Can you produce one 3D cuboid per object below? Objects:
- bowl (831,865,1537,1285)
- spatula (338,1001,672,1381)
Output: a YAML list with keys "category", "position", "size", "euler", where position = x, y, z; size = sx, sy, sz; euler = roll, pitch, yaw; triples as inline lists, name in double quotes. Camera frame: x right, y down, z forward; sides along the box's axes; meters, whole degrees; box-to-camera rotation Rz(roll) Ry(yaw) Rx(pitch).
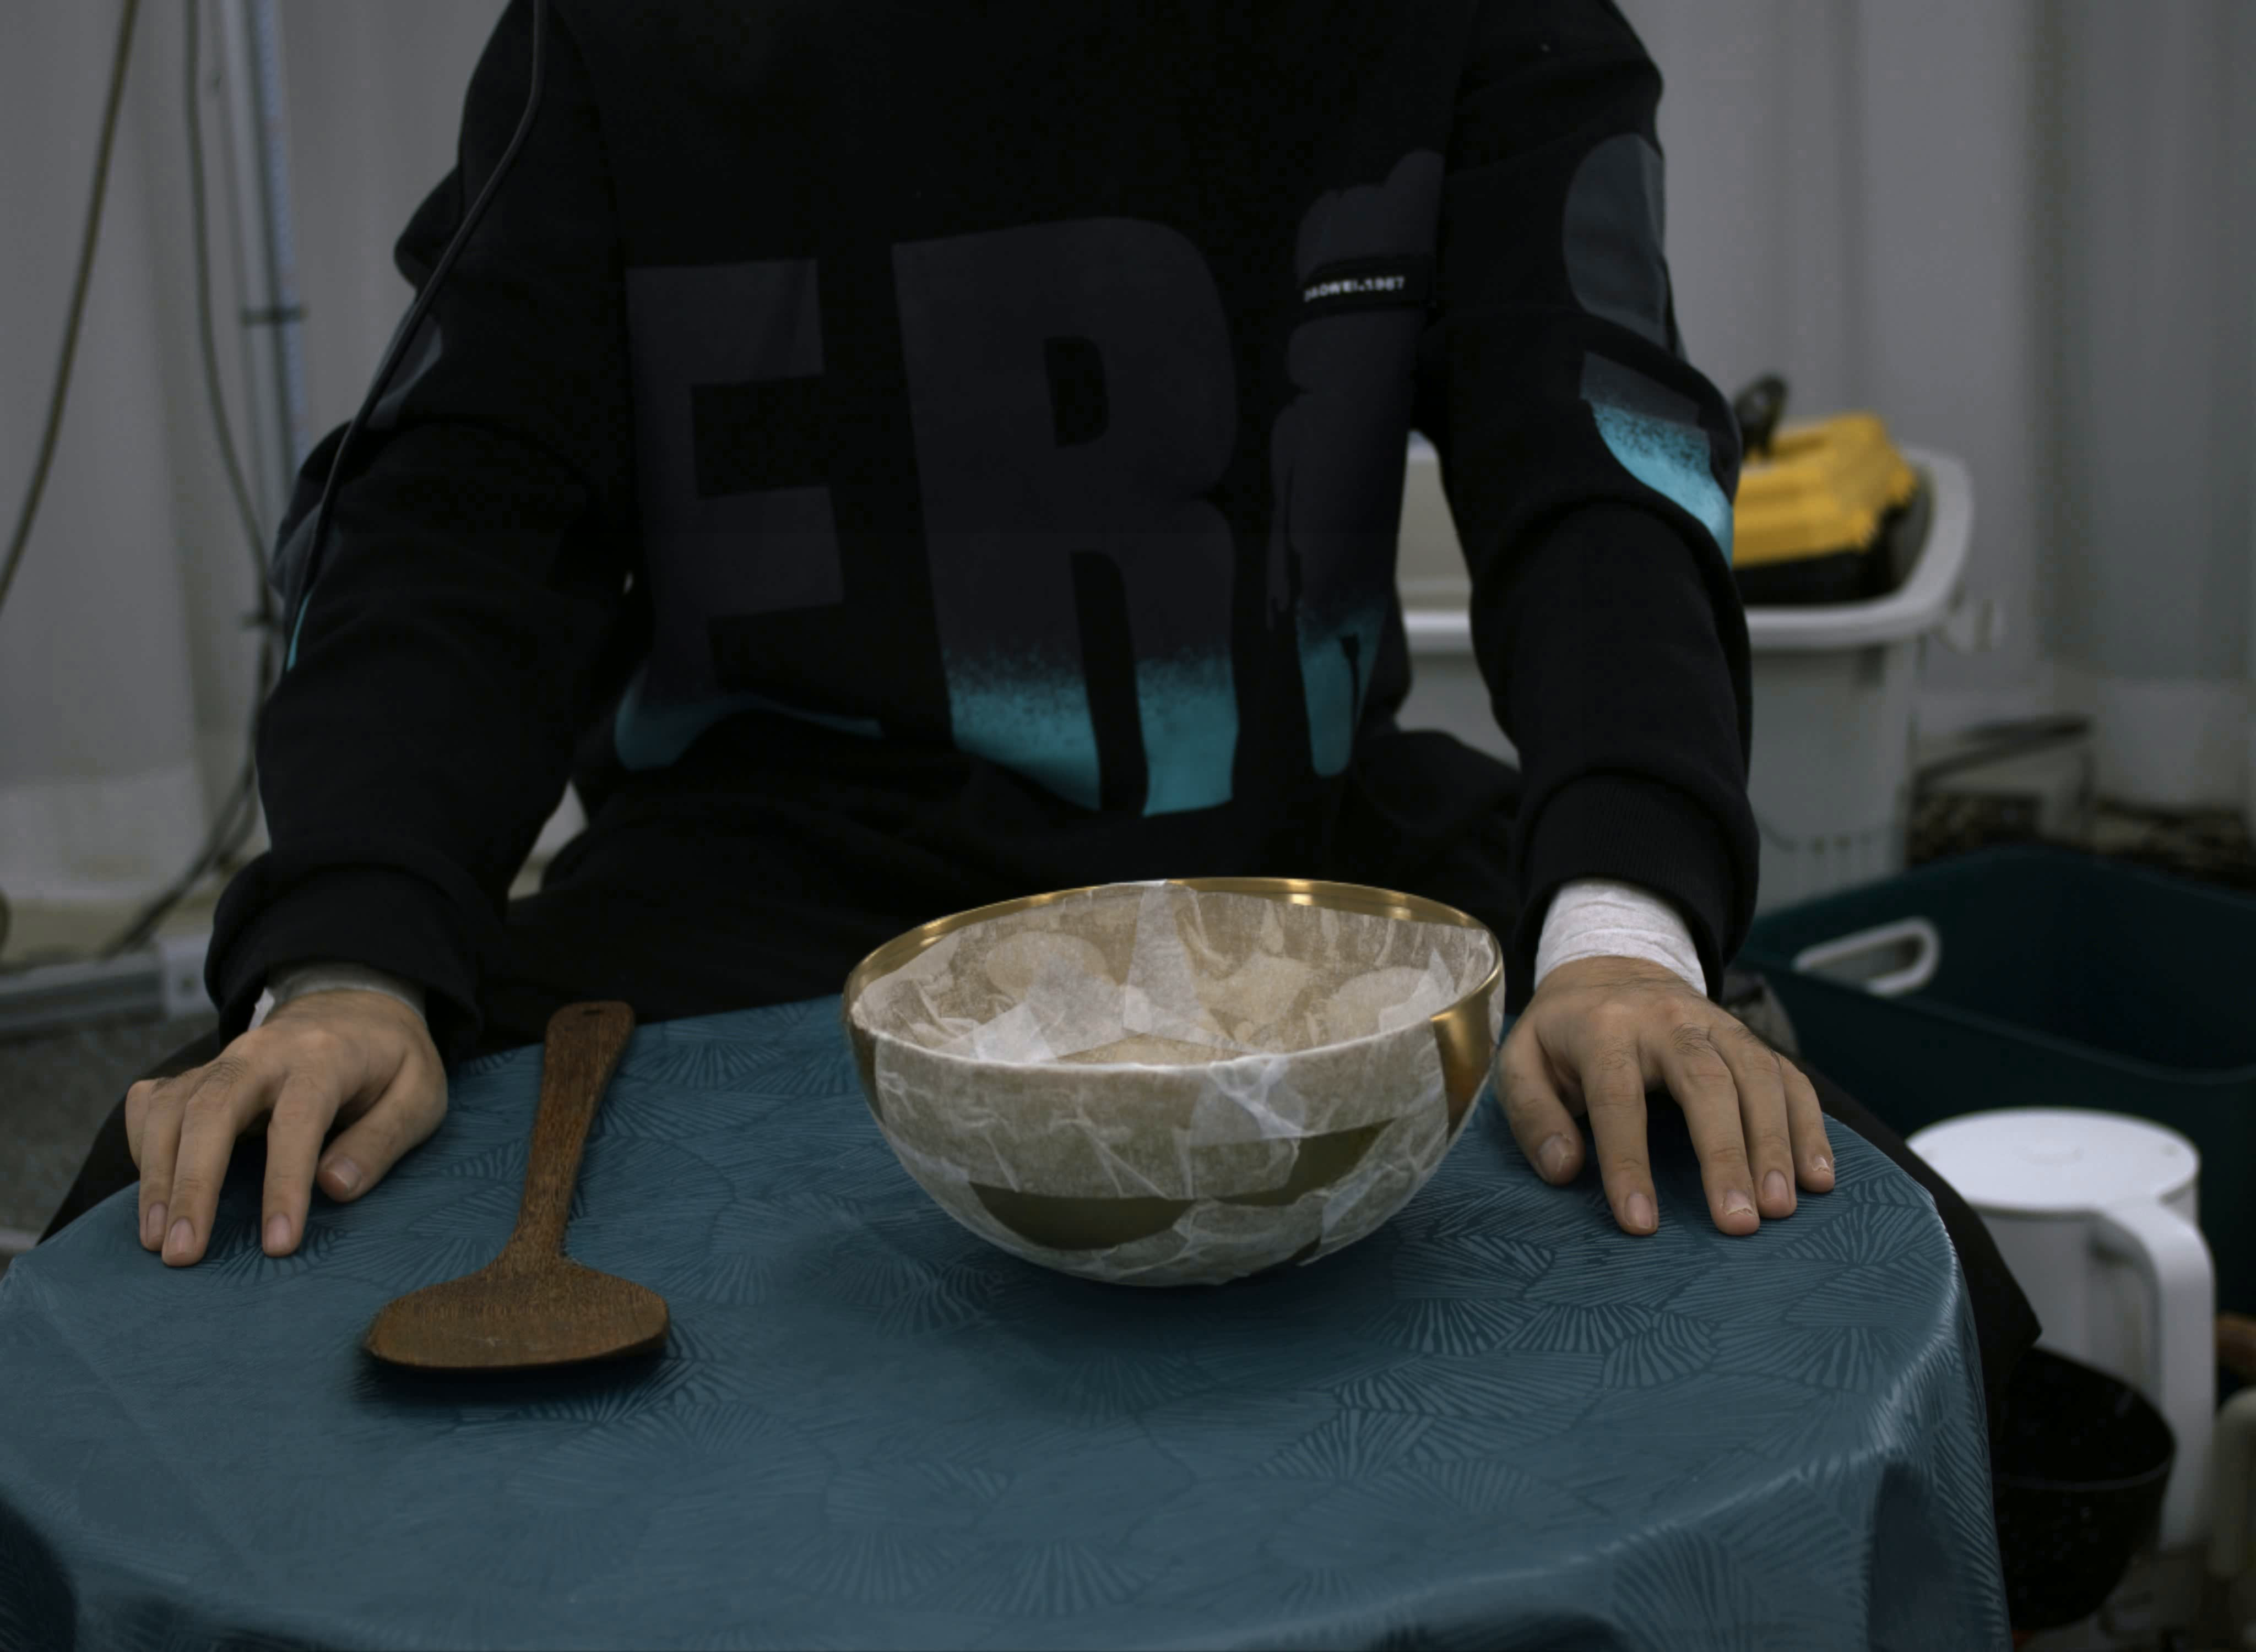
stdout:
- category: "bowl"
  position: [0.019, 0.083, 1.648]
  size: [0.214, 0.094, 0.216]
  euler: [-4, 14, 1]
- category: "spatula"
  position: [-0.184, 0.110, 1.741]
  size: [0.096, 0.016, 0.388]
  euler: [-3, 14, -1]
